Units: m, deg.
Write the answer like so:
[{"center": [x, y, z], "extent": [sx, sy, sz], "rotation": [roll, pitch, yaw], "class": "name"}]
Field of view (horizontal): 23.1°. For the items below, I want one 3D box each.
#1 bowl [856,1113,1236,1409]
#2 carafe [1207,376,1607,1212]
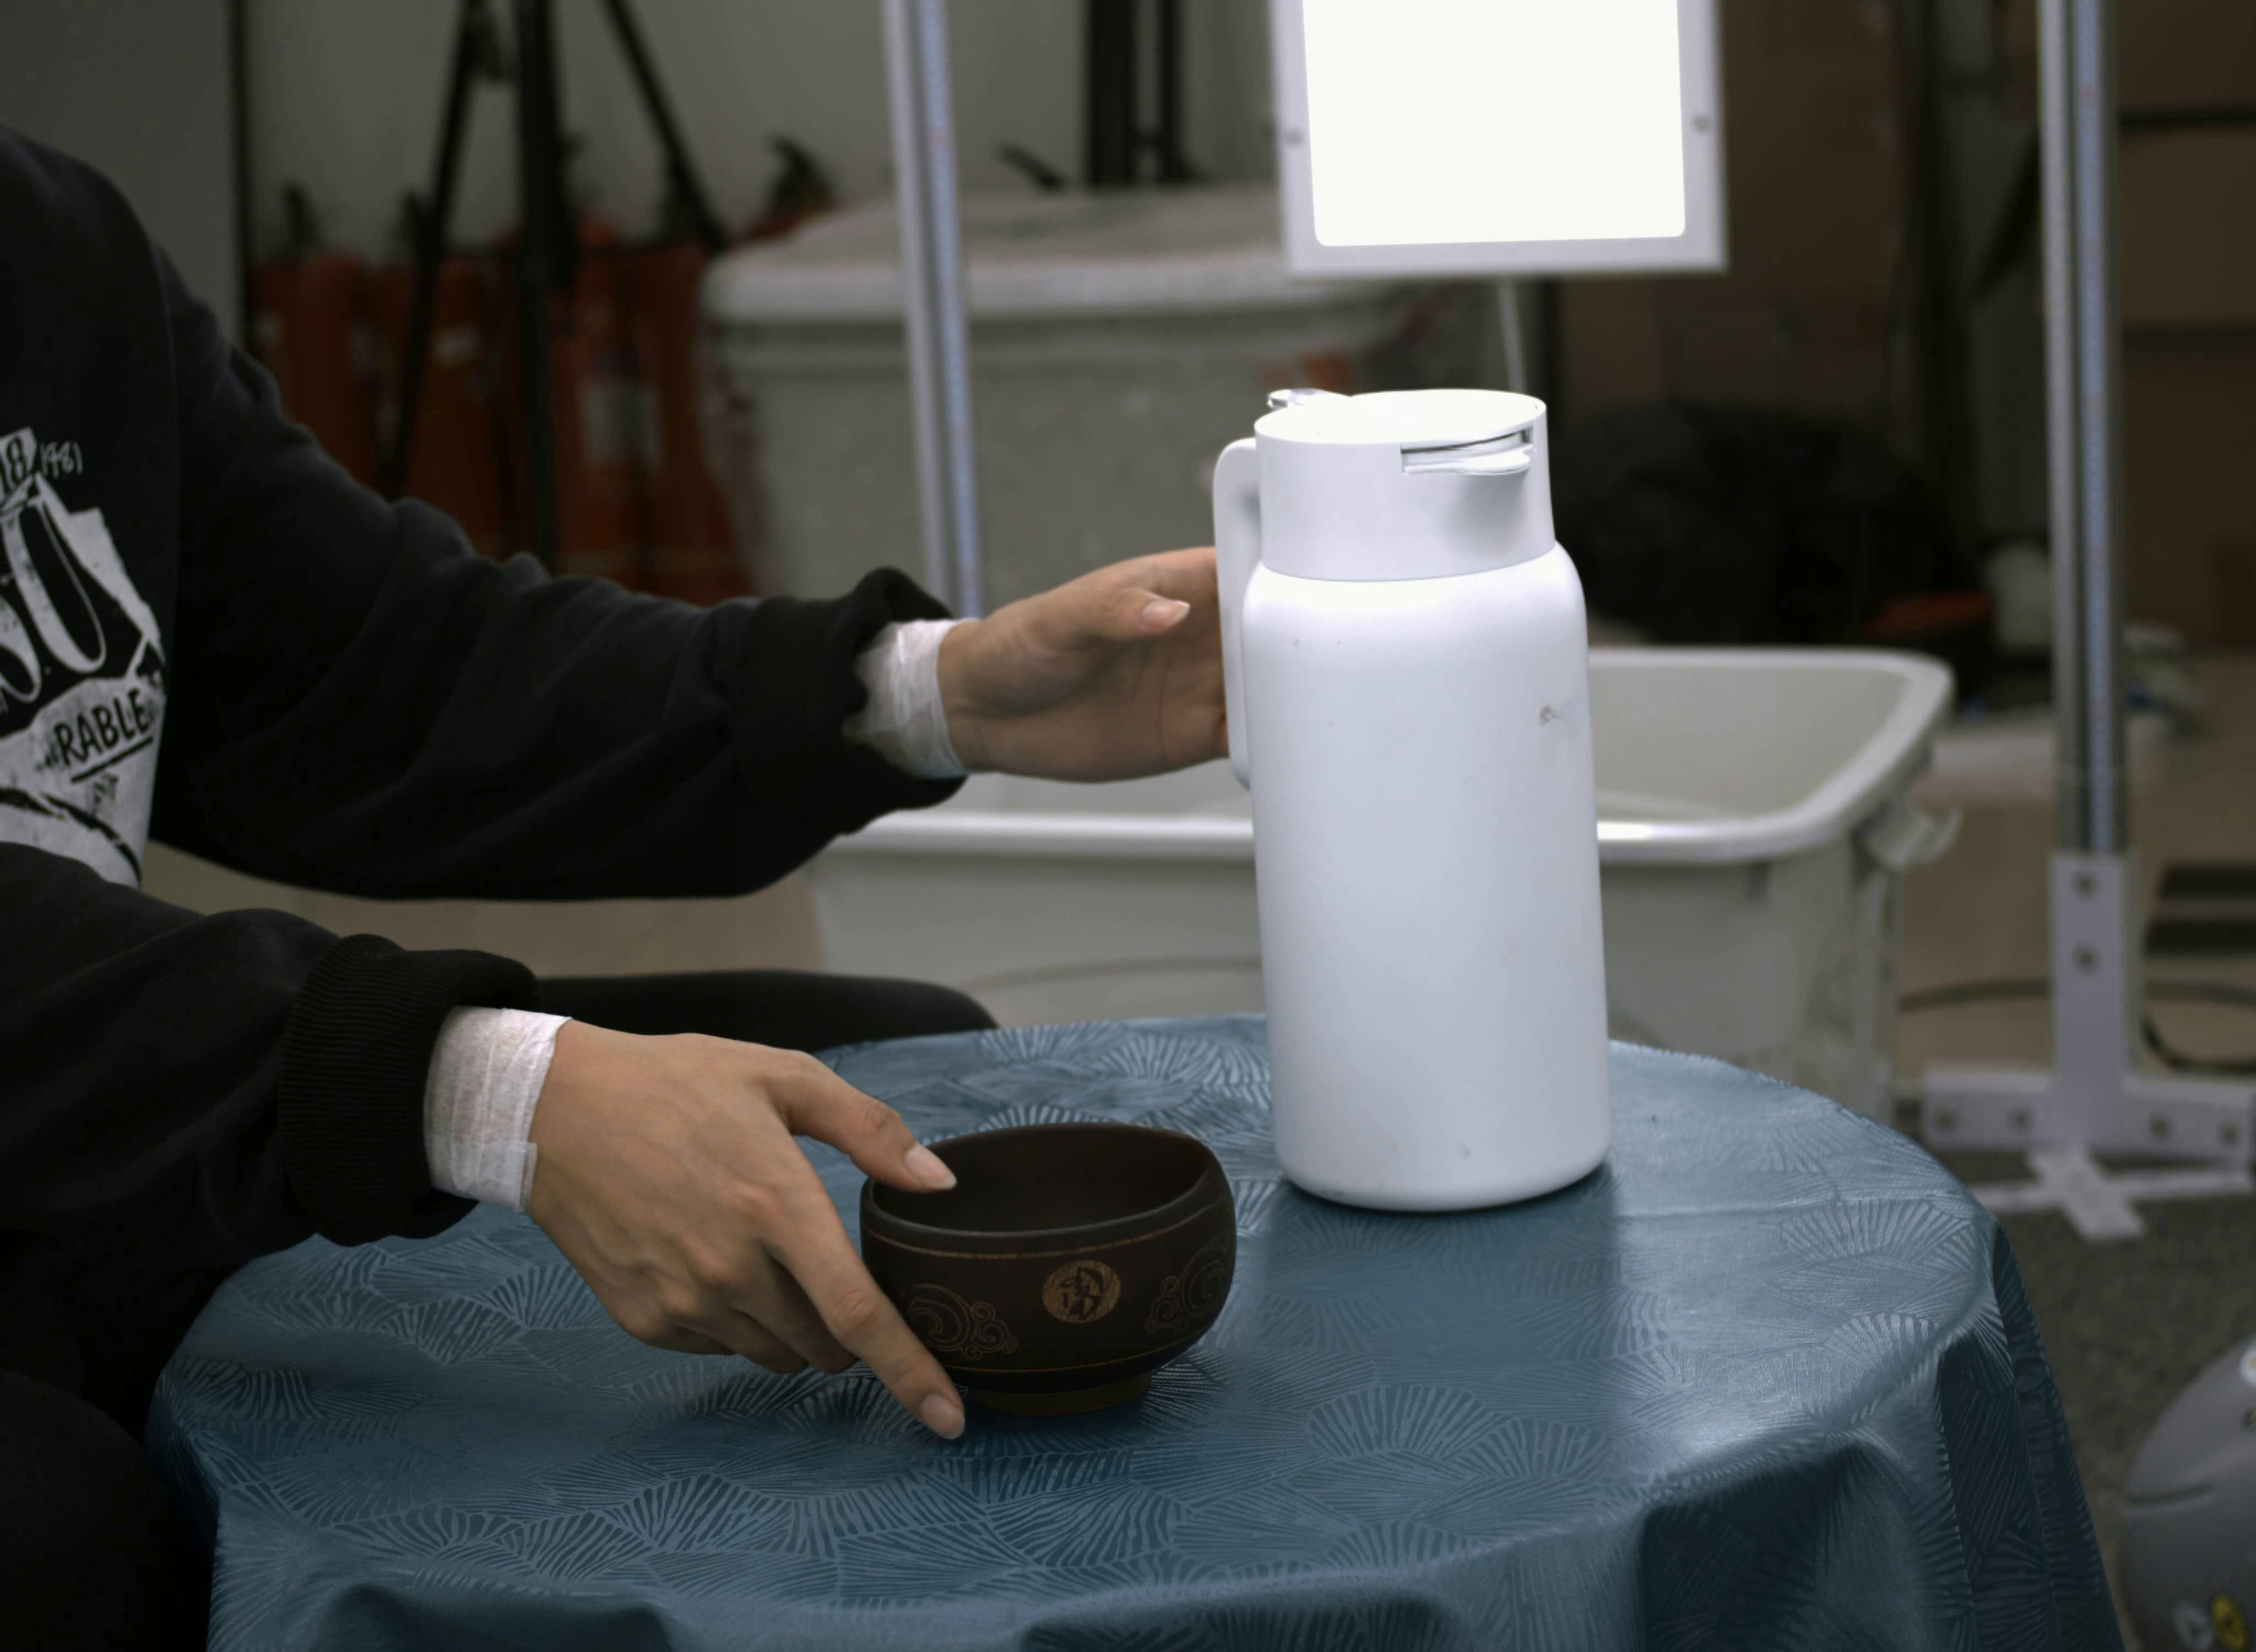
[{"center": [-0.024, 0.138, 1.704], "extent": [0.118, 0.070, 0.118], "rotation": [-5, 13, 0], "class": "bowl"}, {"center": [0.089, -0.013, 1.875], "extent": [0.121, 0.270, 0.176], "rotation": [-14, 17, -29], "class": "carafe"}]
